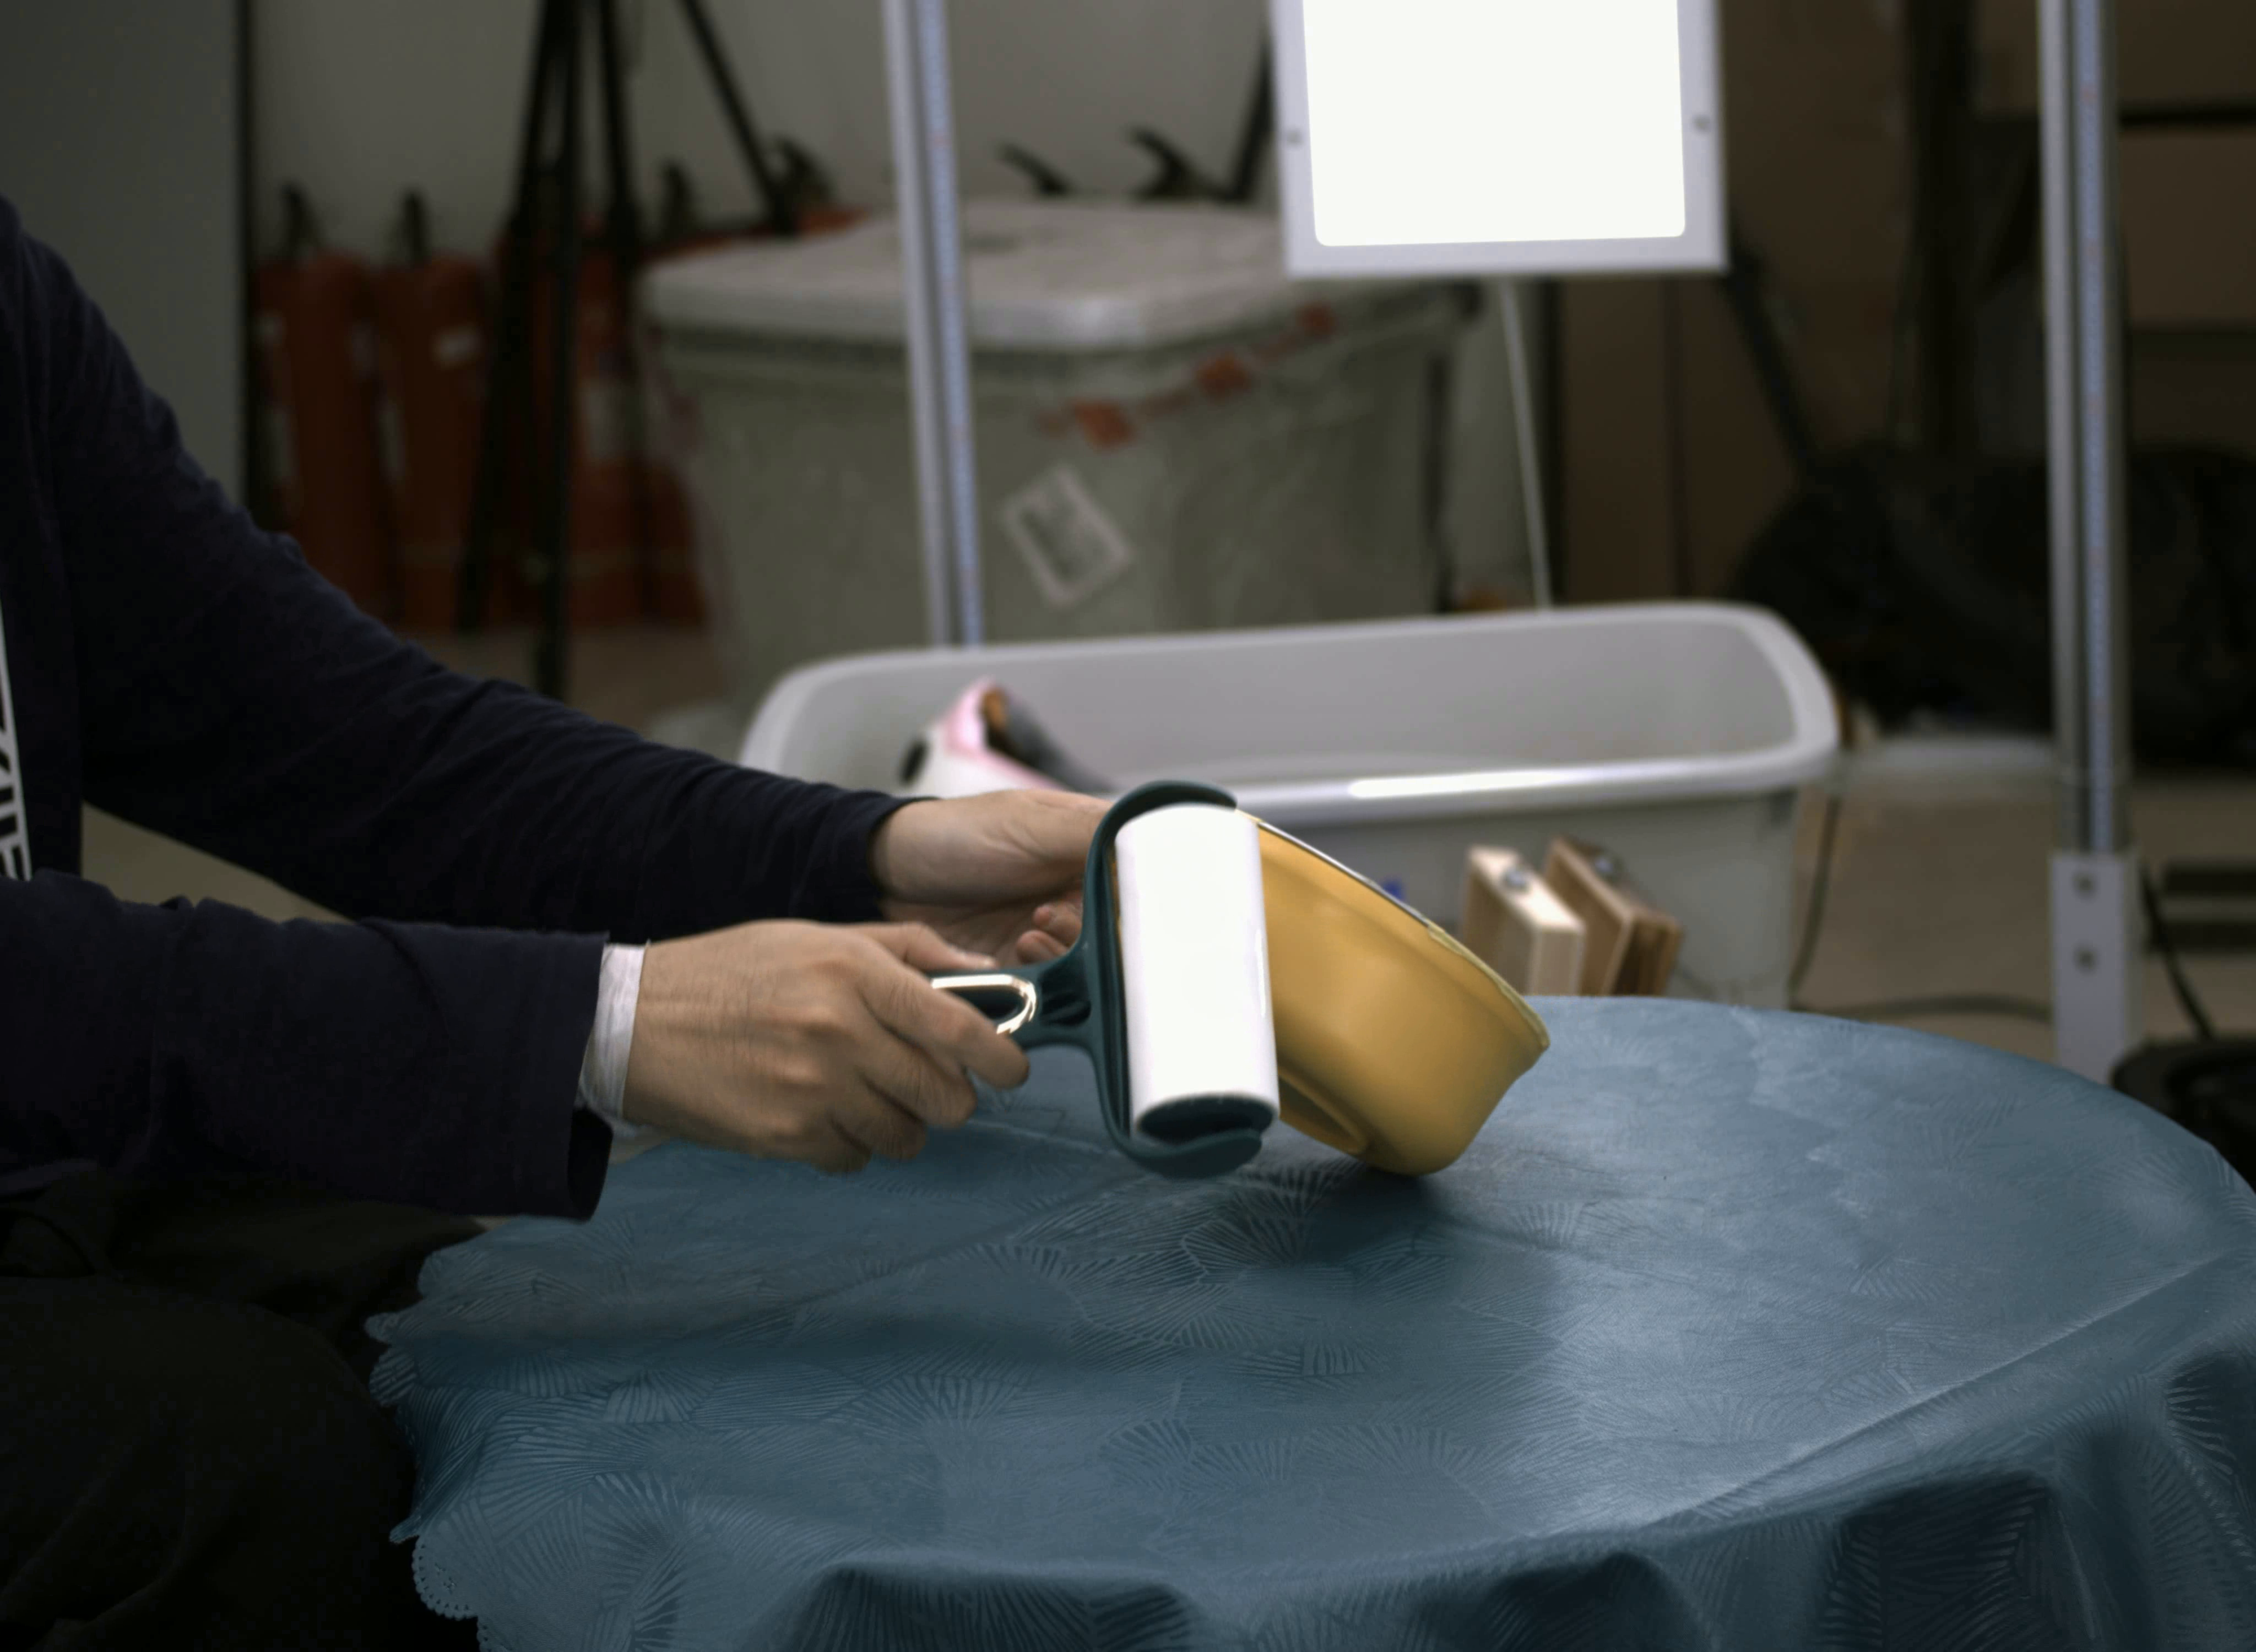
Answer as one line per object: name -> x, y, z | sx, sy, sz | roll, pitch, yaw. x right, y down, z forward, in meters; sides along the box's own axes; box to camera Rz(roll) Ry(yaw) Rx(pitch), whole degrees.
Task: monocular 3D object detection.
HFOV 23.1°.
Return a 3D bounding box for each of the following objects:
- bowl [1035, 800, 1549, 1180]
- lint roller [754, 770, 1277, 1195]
bowl -> 0.053, 0.057, 1.888 | 0.182, 0.074, 0.151 | 27, -10, 35
lint roller -> -0.043, 0.063, 1.777 | 0.182, 0.134, 0.048 | -11, -24, 15
